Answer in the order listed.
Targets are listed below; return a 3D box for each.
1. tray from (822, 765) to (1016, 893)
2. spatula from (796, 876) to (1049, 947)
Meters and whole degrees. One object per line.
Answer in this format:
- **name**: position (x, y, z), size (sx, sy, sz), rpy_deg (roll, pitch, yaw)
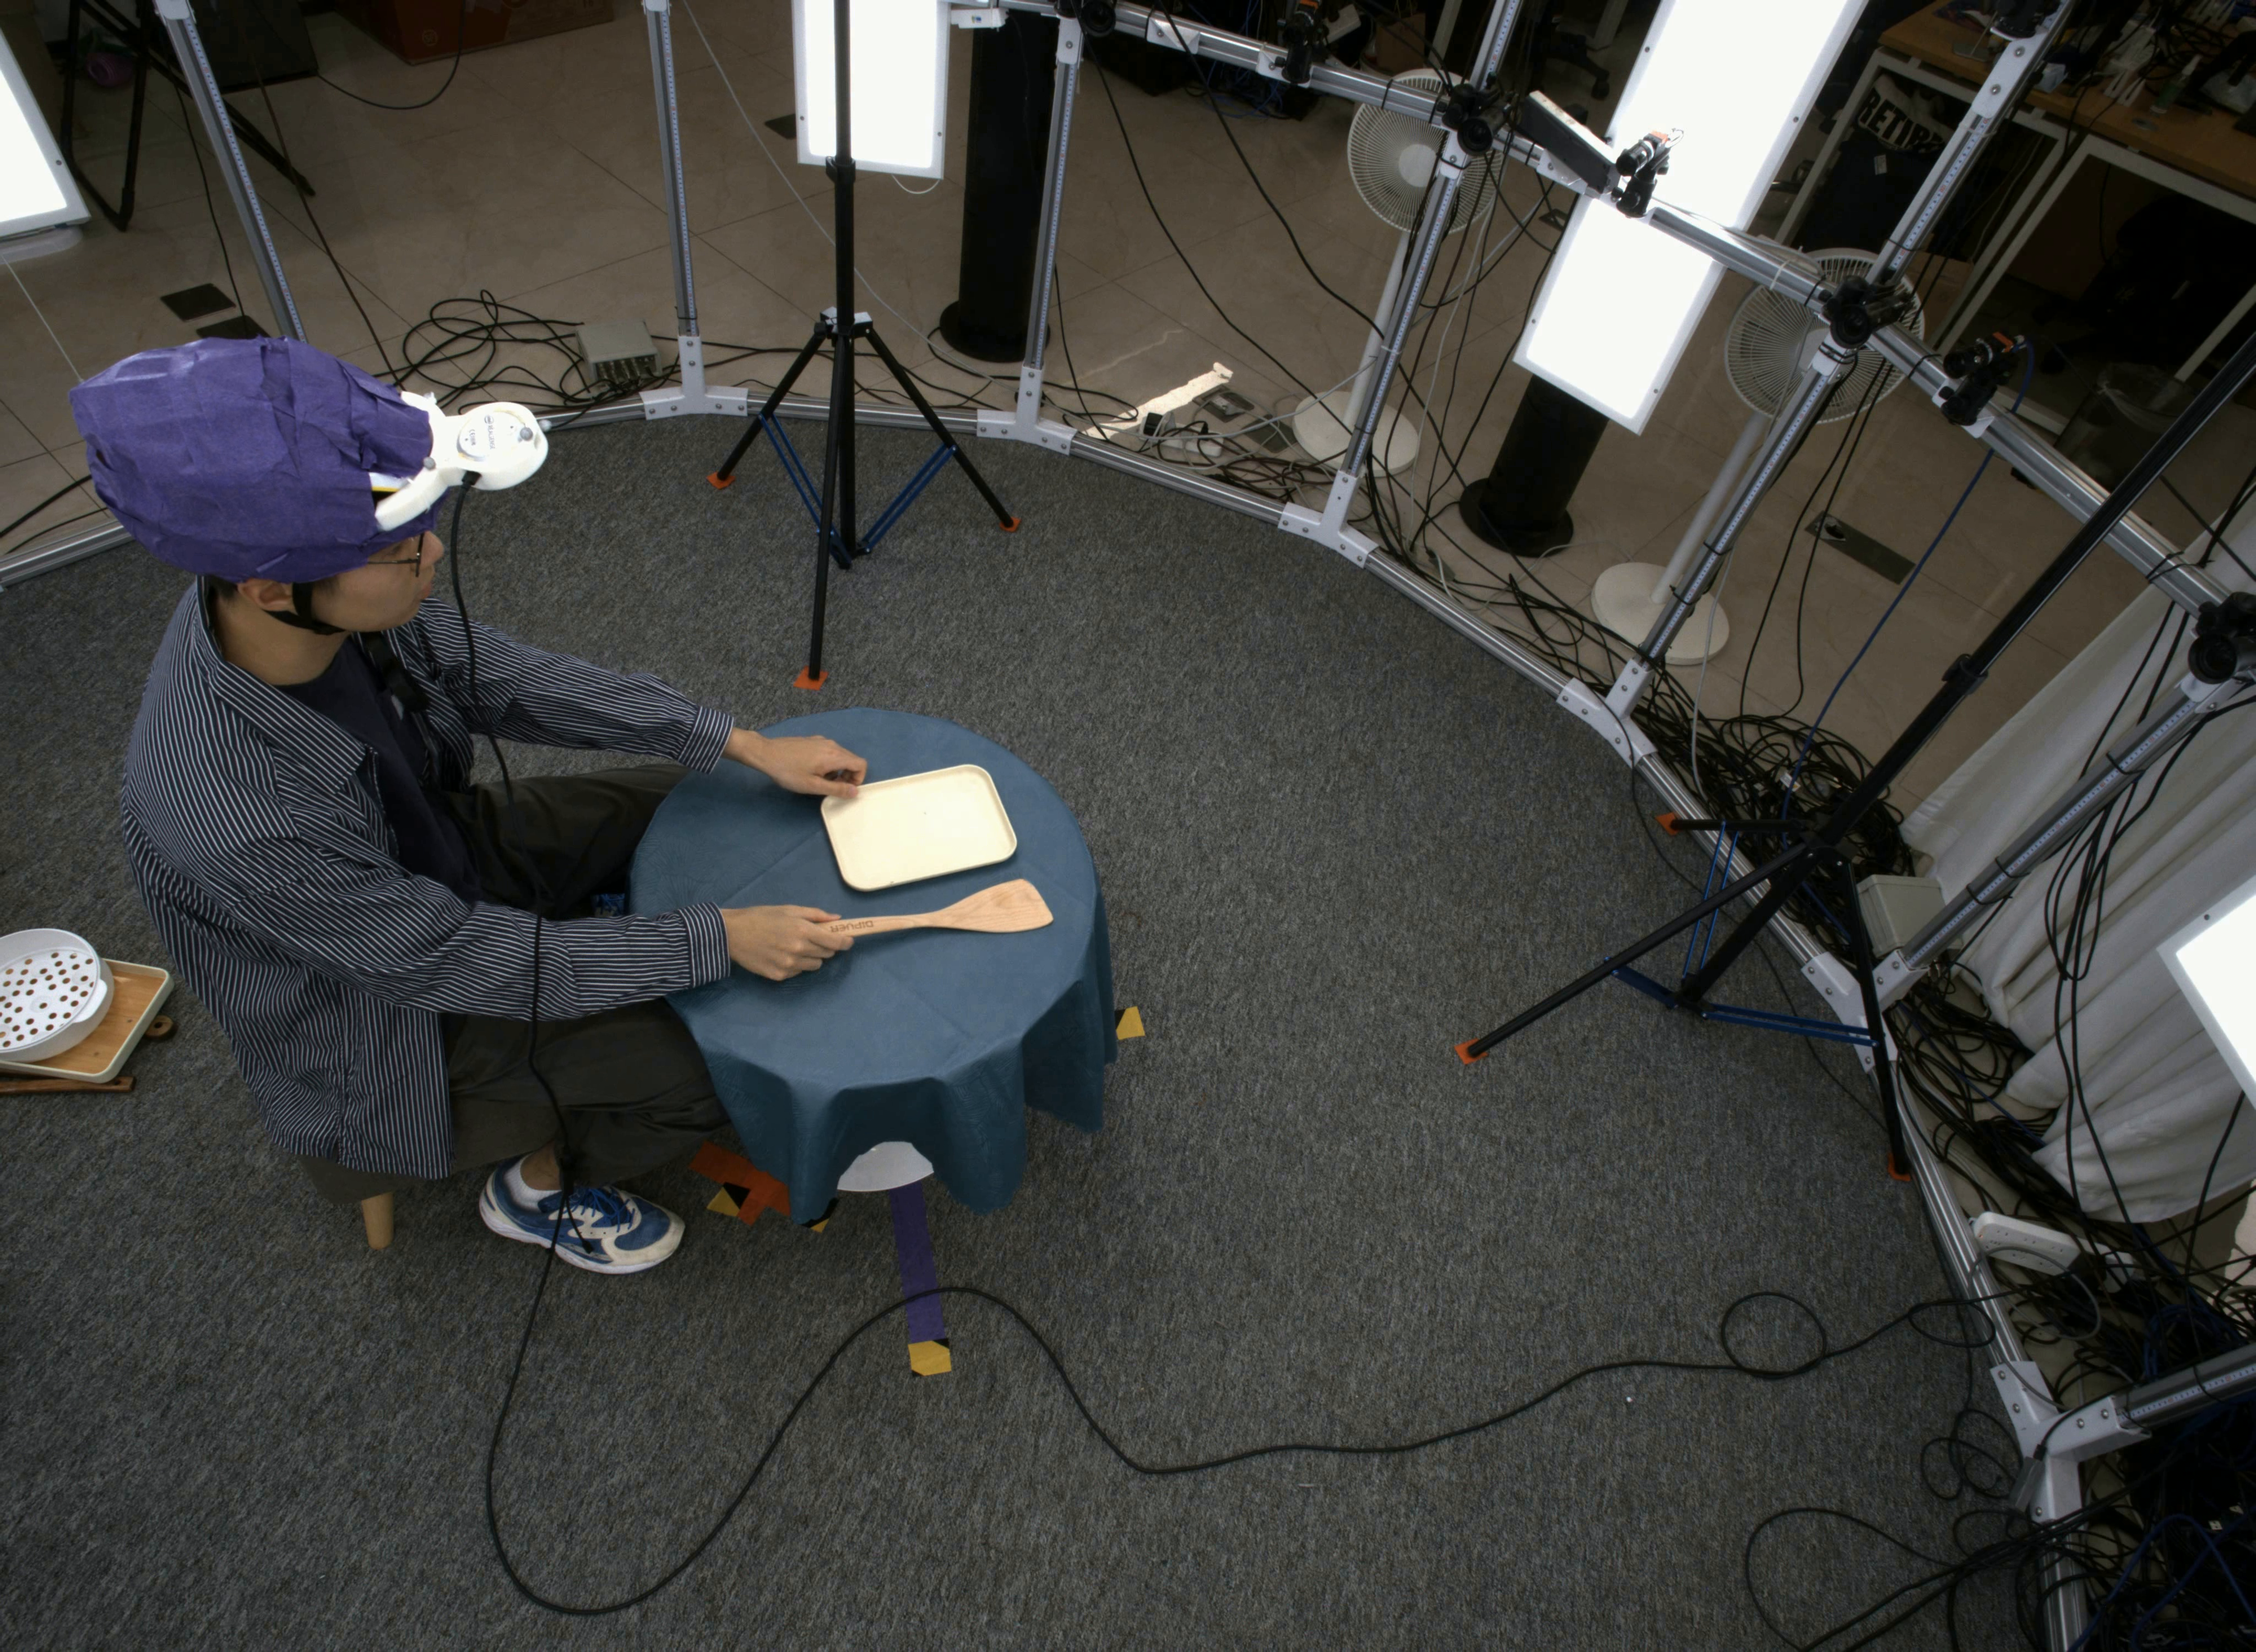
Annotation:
- **tray**: position (-0.282, 0.002, 1.762), size (0.241, 0.018, 0.167), rpy_deg (-13, 58, -22)
- **spatula**: position (-0.263, 0.115, 1.670), size (0.331, 0.017, 0.078), rpy_deg (-7, 55, -28)
